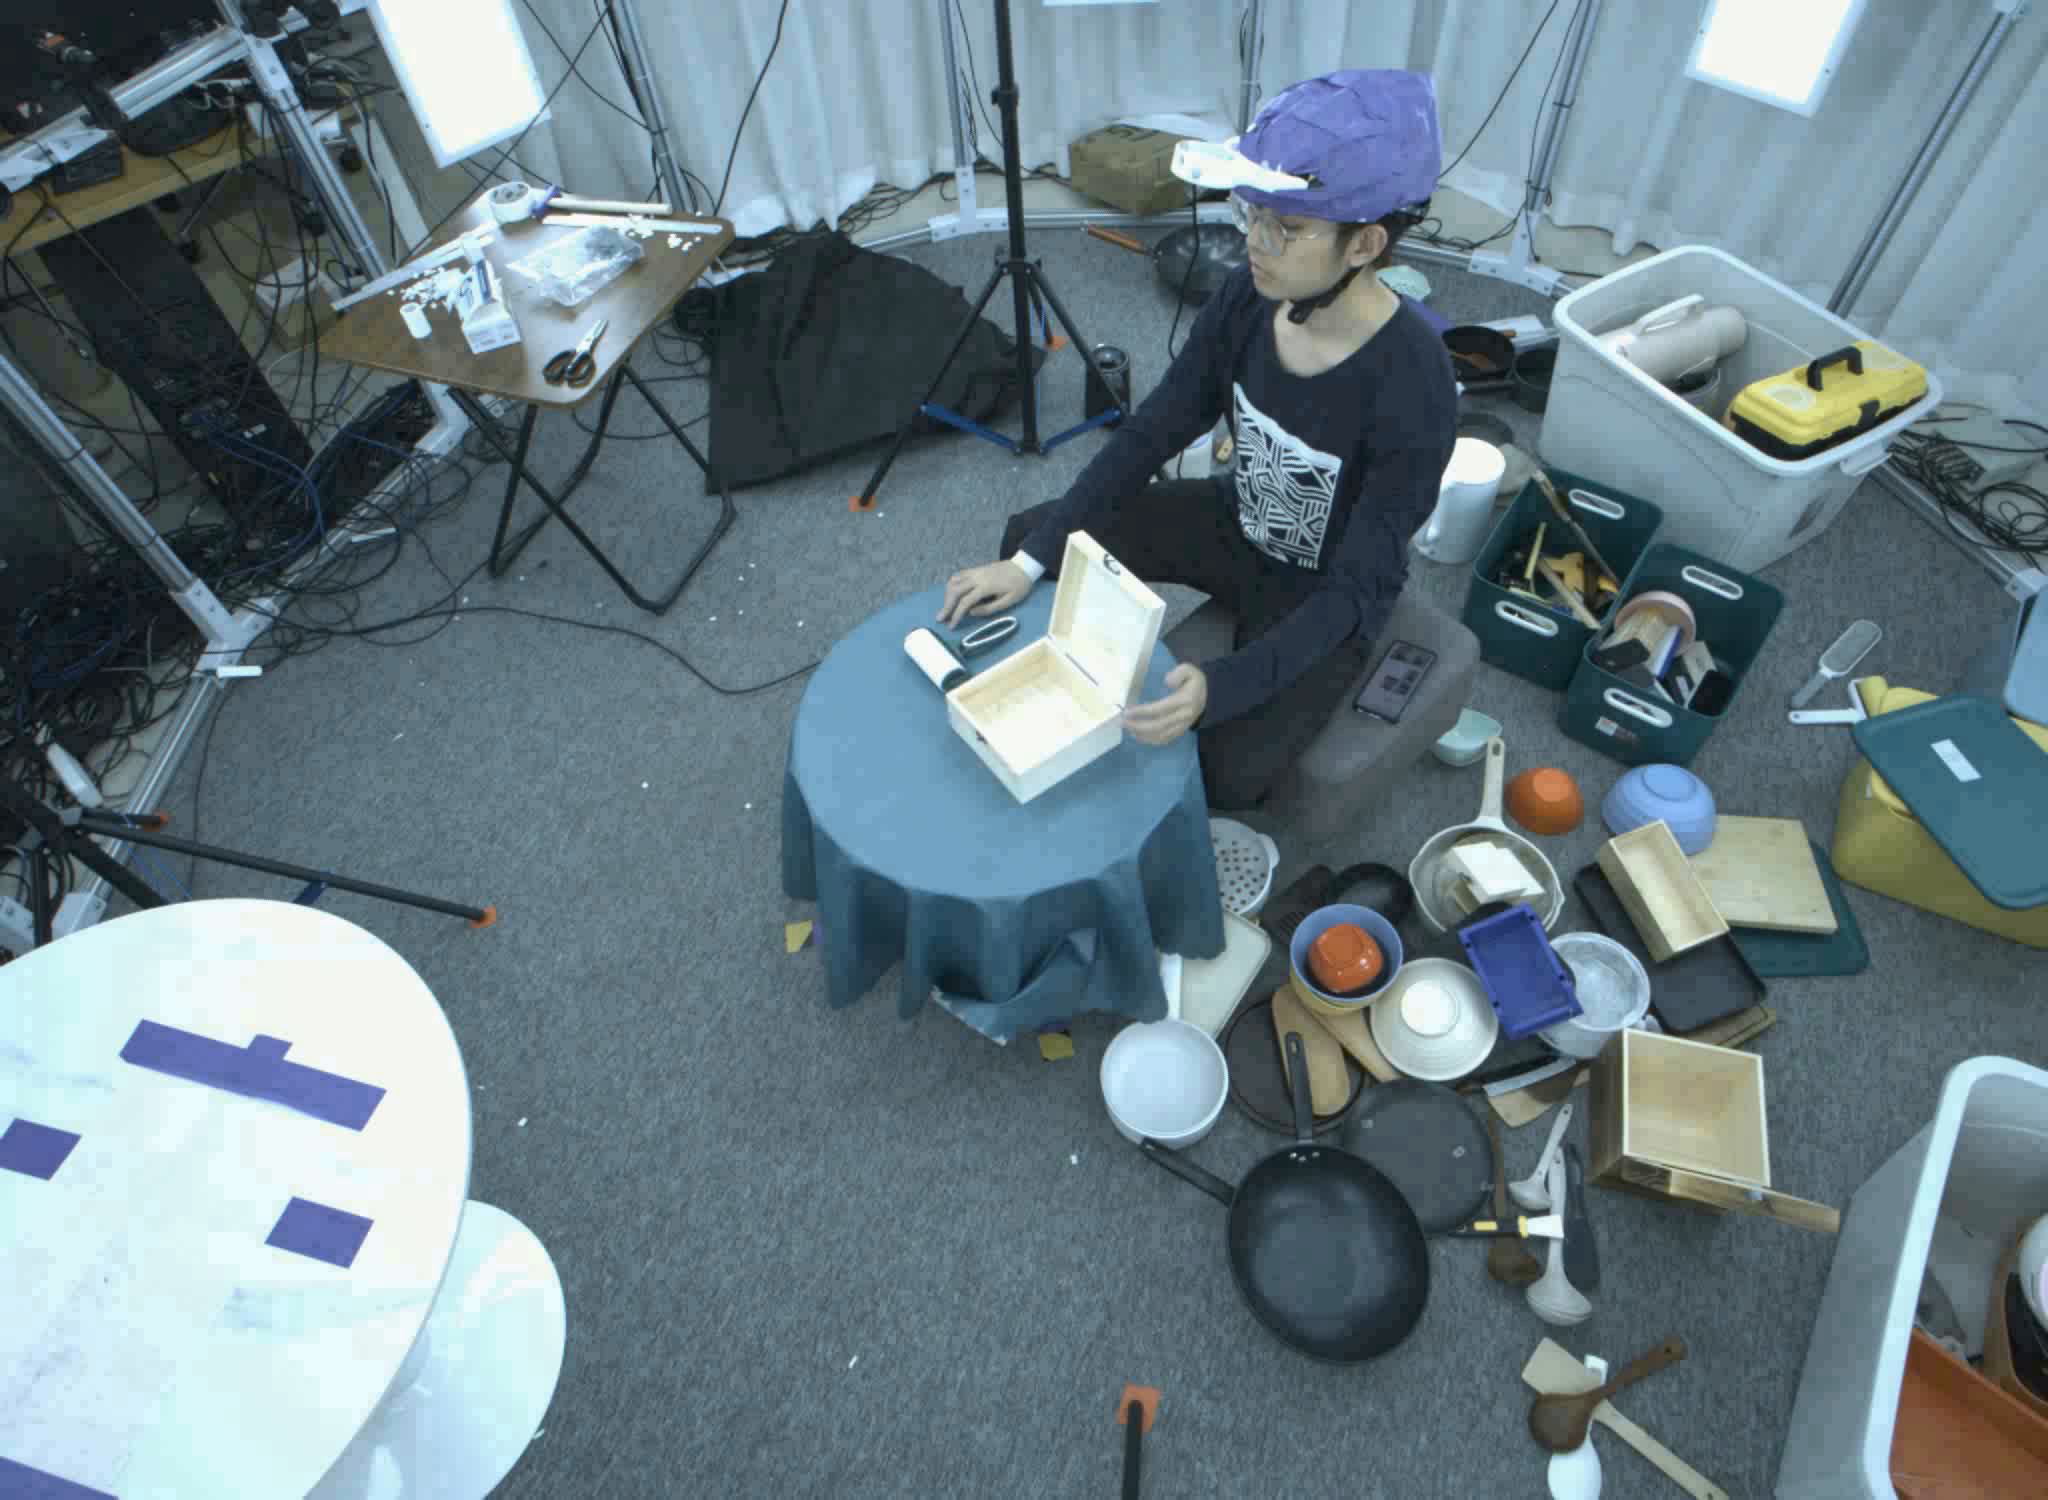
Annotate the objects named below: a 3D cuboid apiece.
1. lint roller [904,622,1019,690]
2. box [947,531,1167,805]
[{"bbox_3d":[-0.083,-0.169,1.894,0.182,0.049,0.132,-30,59,-24],"label":"lint roller"},{"bbox_3d":[0.038,-0.115,1.721,0.267,0.256,0.178,-33,58,-19],"label":"box"}]
